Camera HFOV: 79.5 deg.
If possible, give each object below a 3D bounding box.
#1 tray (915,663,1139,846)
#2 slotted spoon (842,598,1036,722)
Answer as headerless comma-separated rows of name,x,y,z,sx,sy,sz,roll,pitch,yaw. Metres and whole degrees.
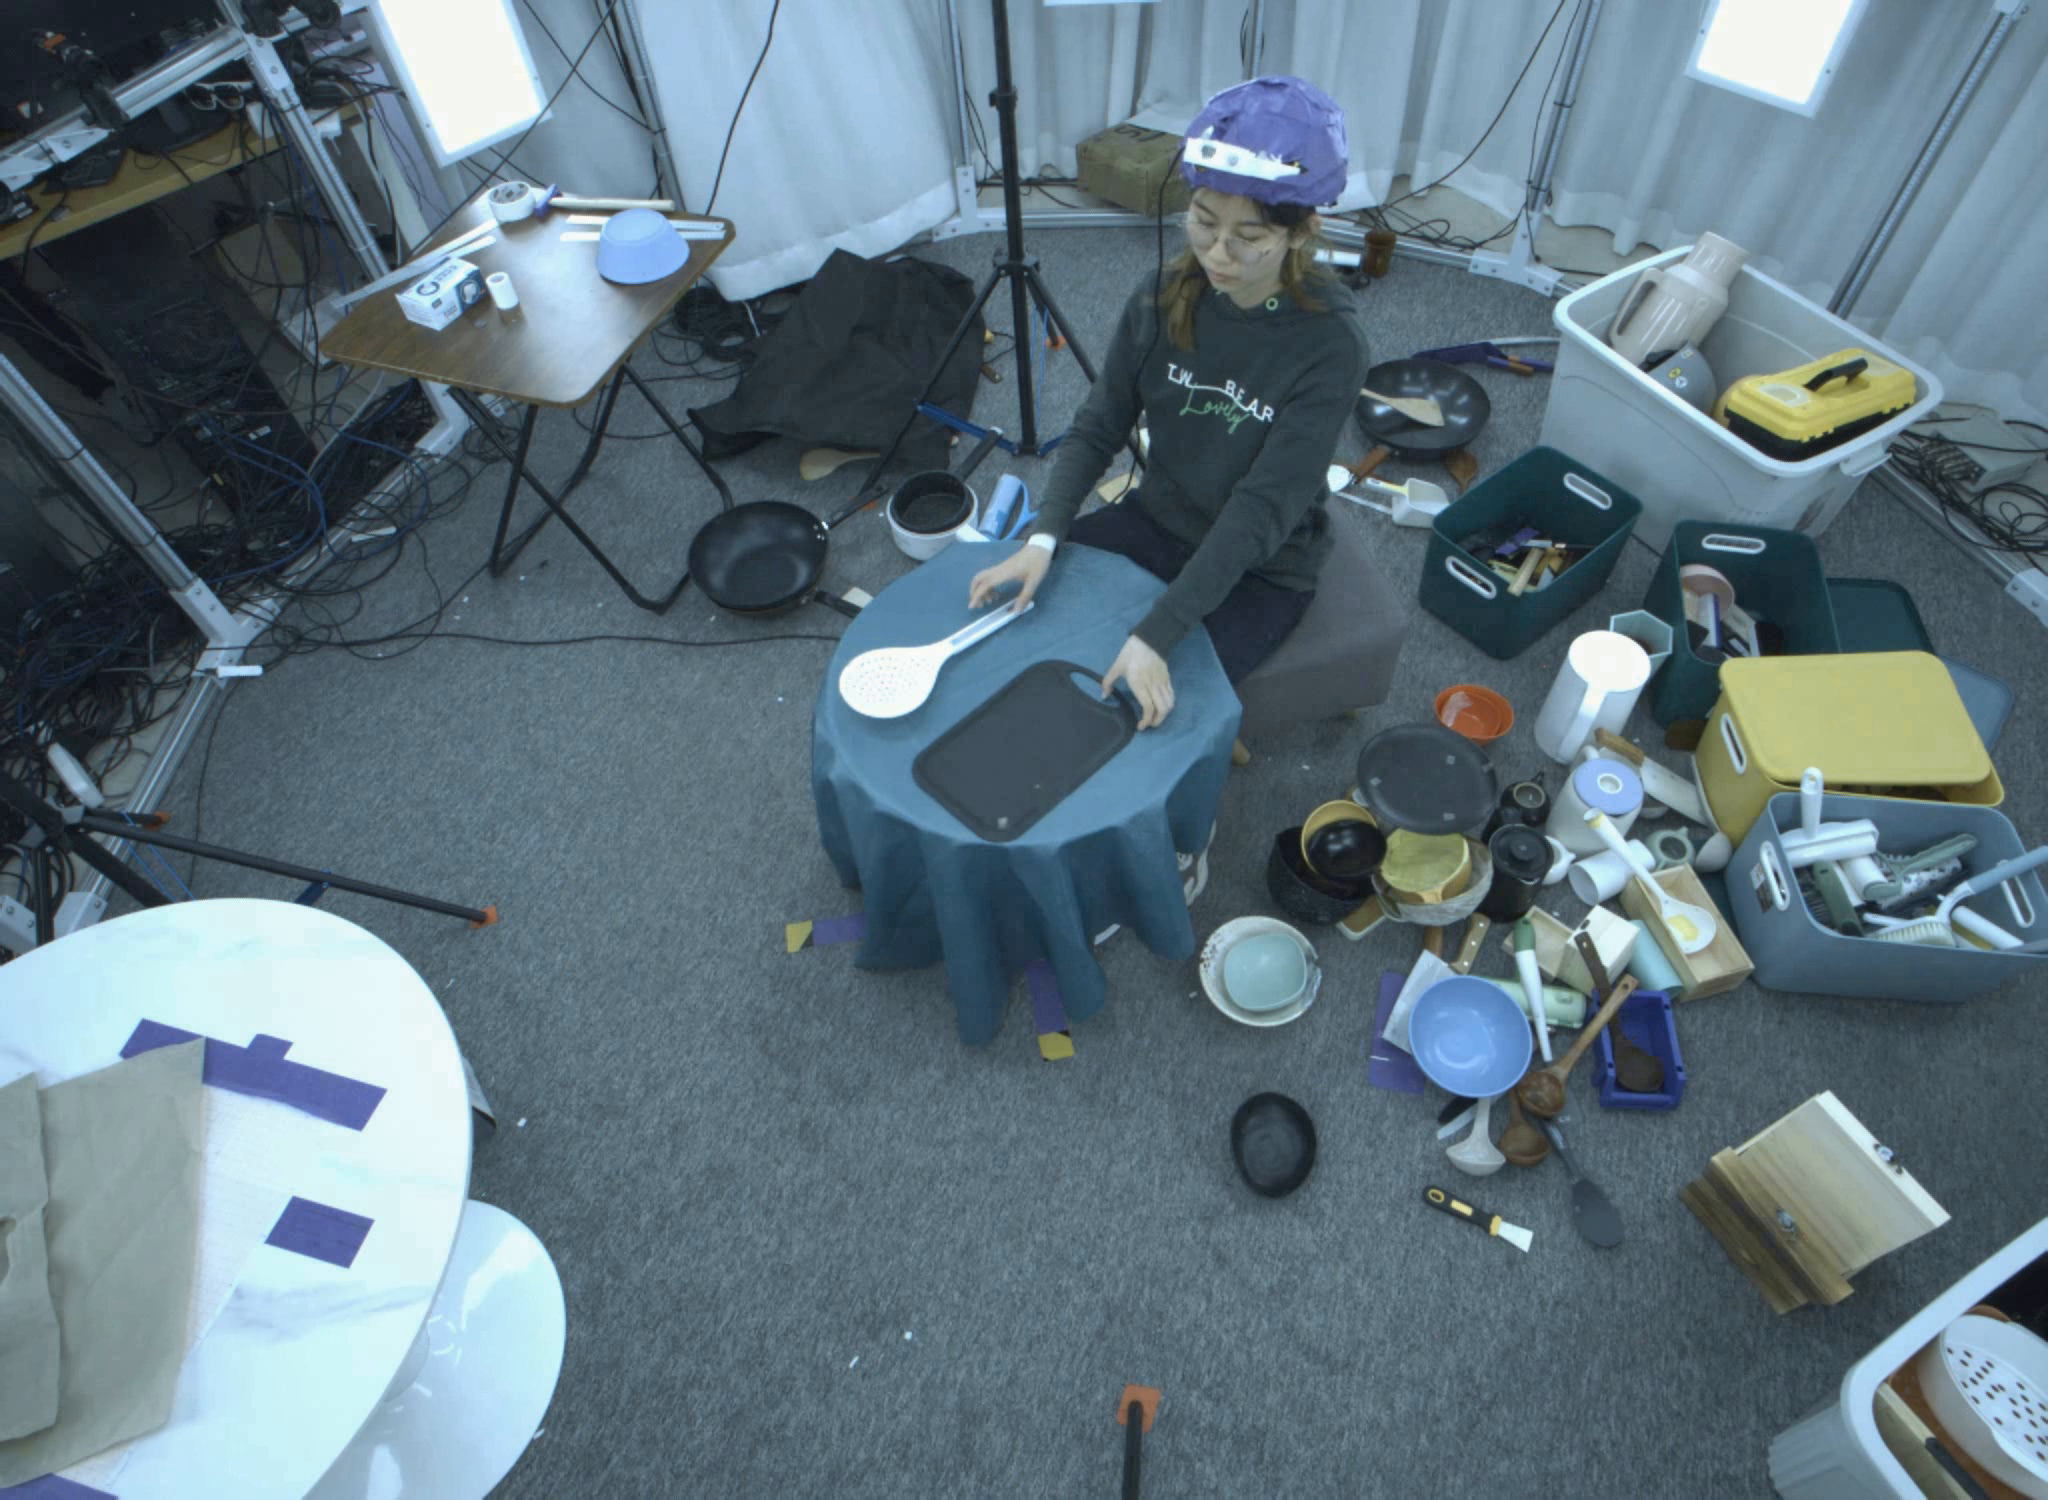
tray,0.011,-0.006,1.798,0.207,0.010,0.328,39,64,25
slotted spoon,-0.122,-0.146,1.876,0.352,0.046,0.134,-36,63,-22
